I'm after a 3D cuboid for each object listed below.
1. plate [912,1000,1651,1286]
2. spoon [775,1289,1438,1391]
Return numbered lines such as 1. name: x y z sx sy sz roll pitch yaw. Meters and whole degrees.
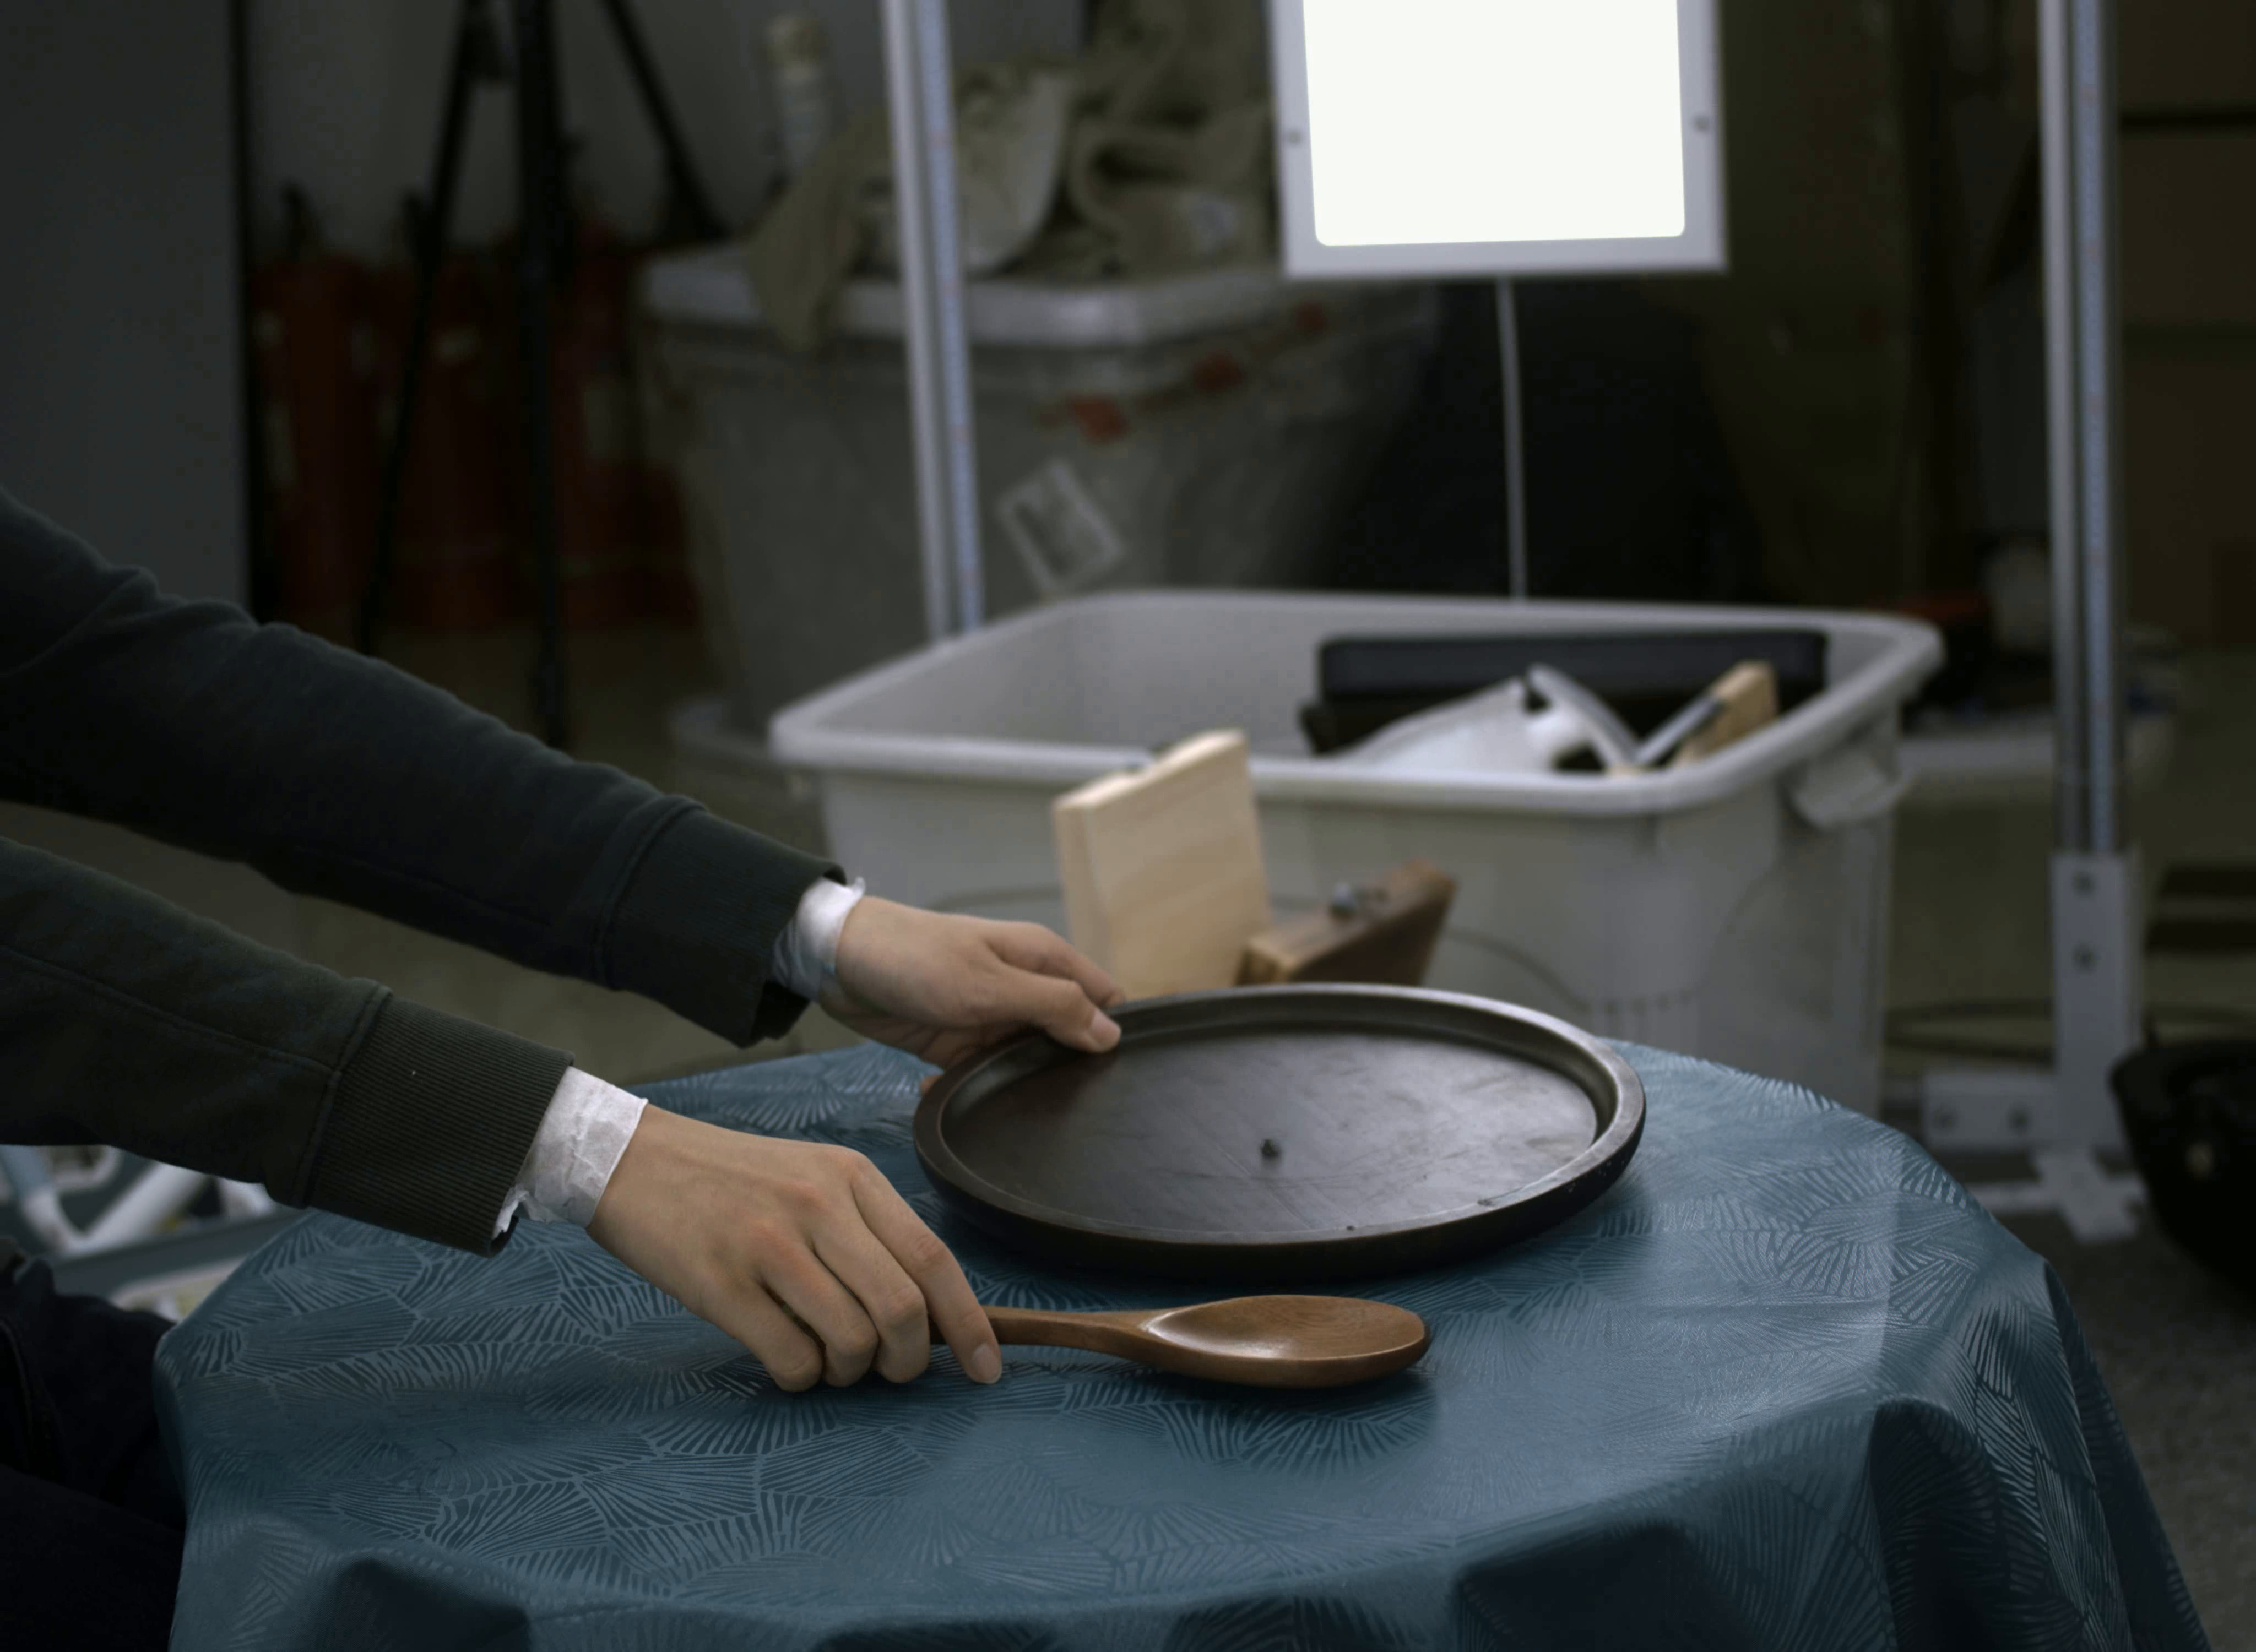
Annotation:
1. plate: 0.053 0.106 1.887 0.254 0.029 0.254 -3 17 -1
2. spoon: -0.008 0.159 1.722 0.218 0.017 0.074 2 13 19
